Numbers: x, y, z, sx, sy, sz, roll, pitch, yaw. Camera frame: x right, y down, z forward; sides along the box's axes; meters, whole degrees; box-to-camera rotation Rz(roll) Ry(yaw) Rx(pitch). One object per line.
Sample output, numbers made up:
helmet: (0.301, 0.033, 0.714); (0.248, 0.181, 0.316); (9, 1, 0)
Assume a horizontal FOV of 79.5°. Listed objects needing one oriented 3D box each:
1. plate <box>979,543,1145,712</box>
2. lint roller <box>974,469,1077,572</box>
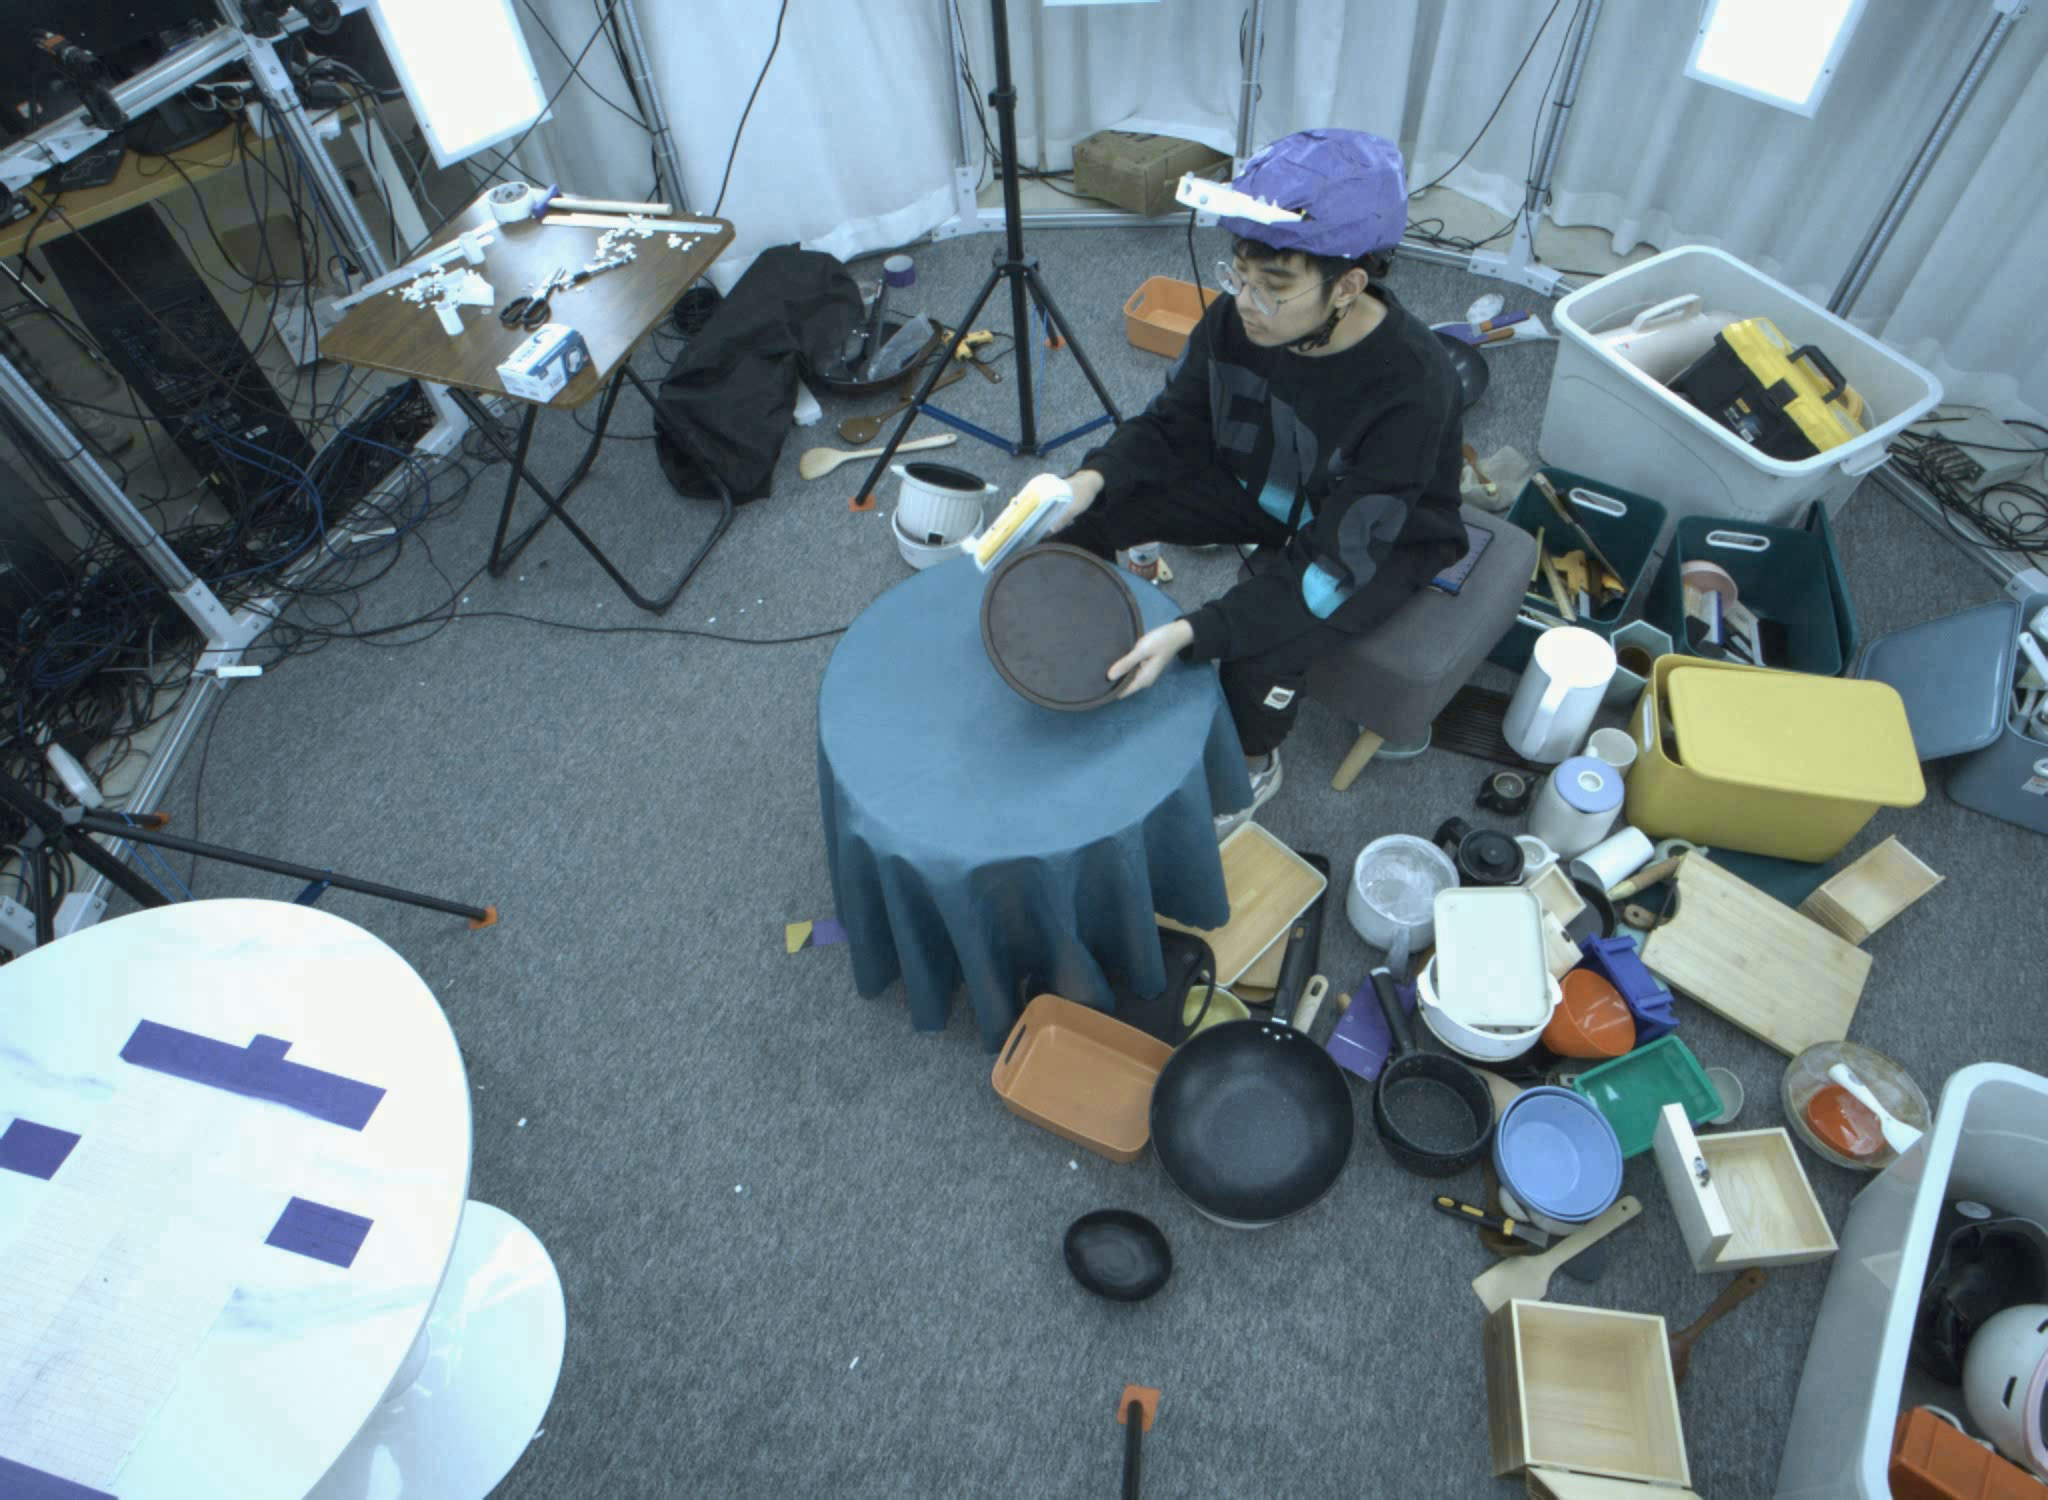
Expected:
plate: (0.054, -0.175, 1.758); (0.259, 0.029, 0.253); (6, 75, -22)
lint roller: (0.026, -0.351, 1.856); (0.073, 0.191, 0.195); (52, 32, 15)
